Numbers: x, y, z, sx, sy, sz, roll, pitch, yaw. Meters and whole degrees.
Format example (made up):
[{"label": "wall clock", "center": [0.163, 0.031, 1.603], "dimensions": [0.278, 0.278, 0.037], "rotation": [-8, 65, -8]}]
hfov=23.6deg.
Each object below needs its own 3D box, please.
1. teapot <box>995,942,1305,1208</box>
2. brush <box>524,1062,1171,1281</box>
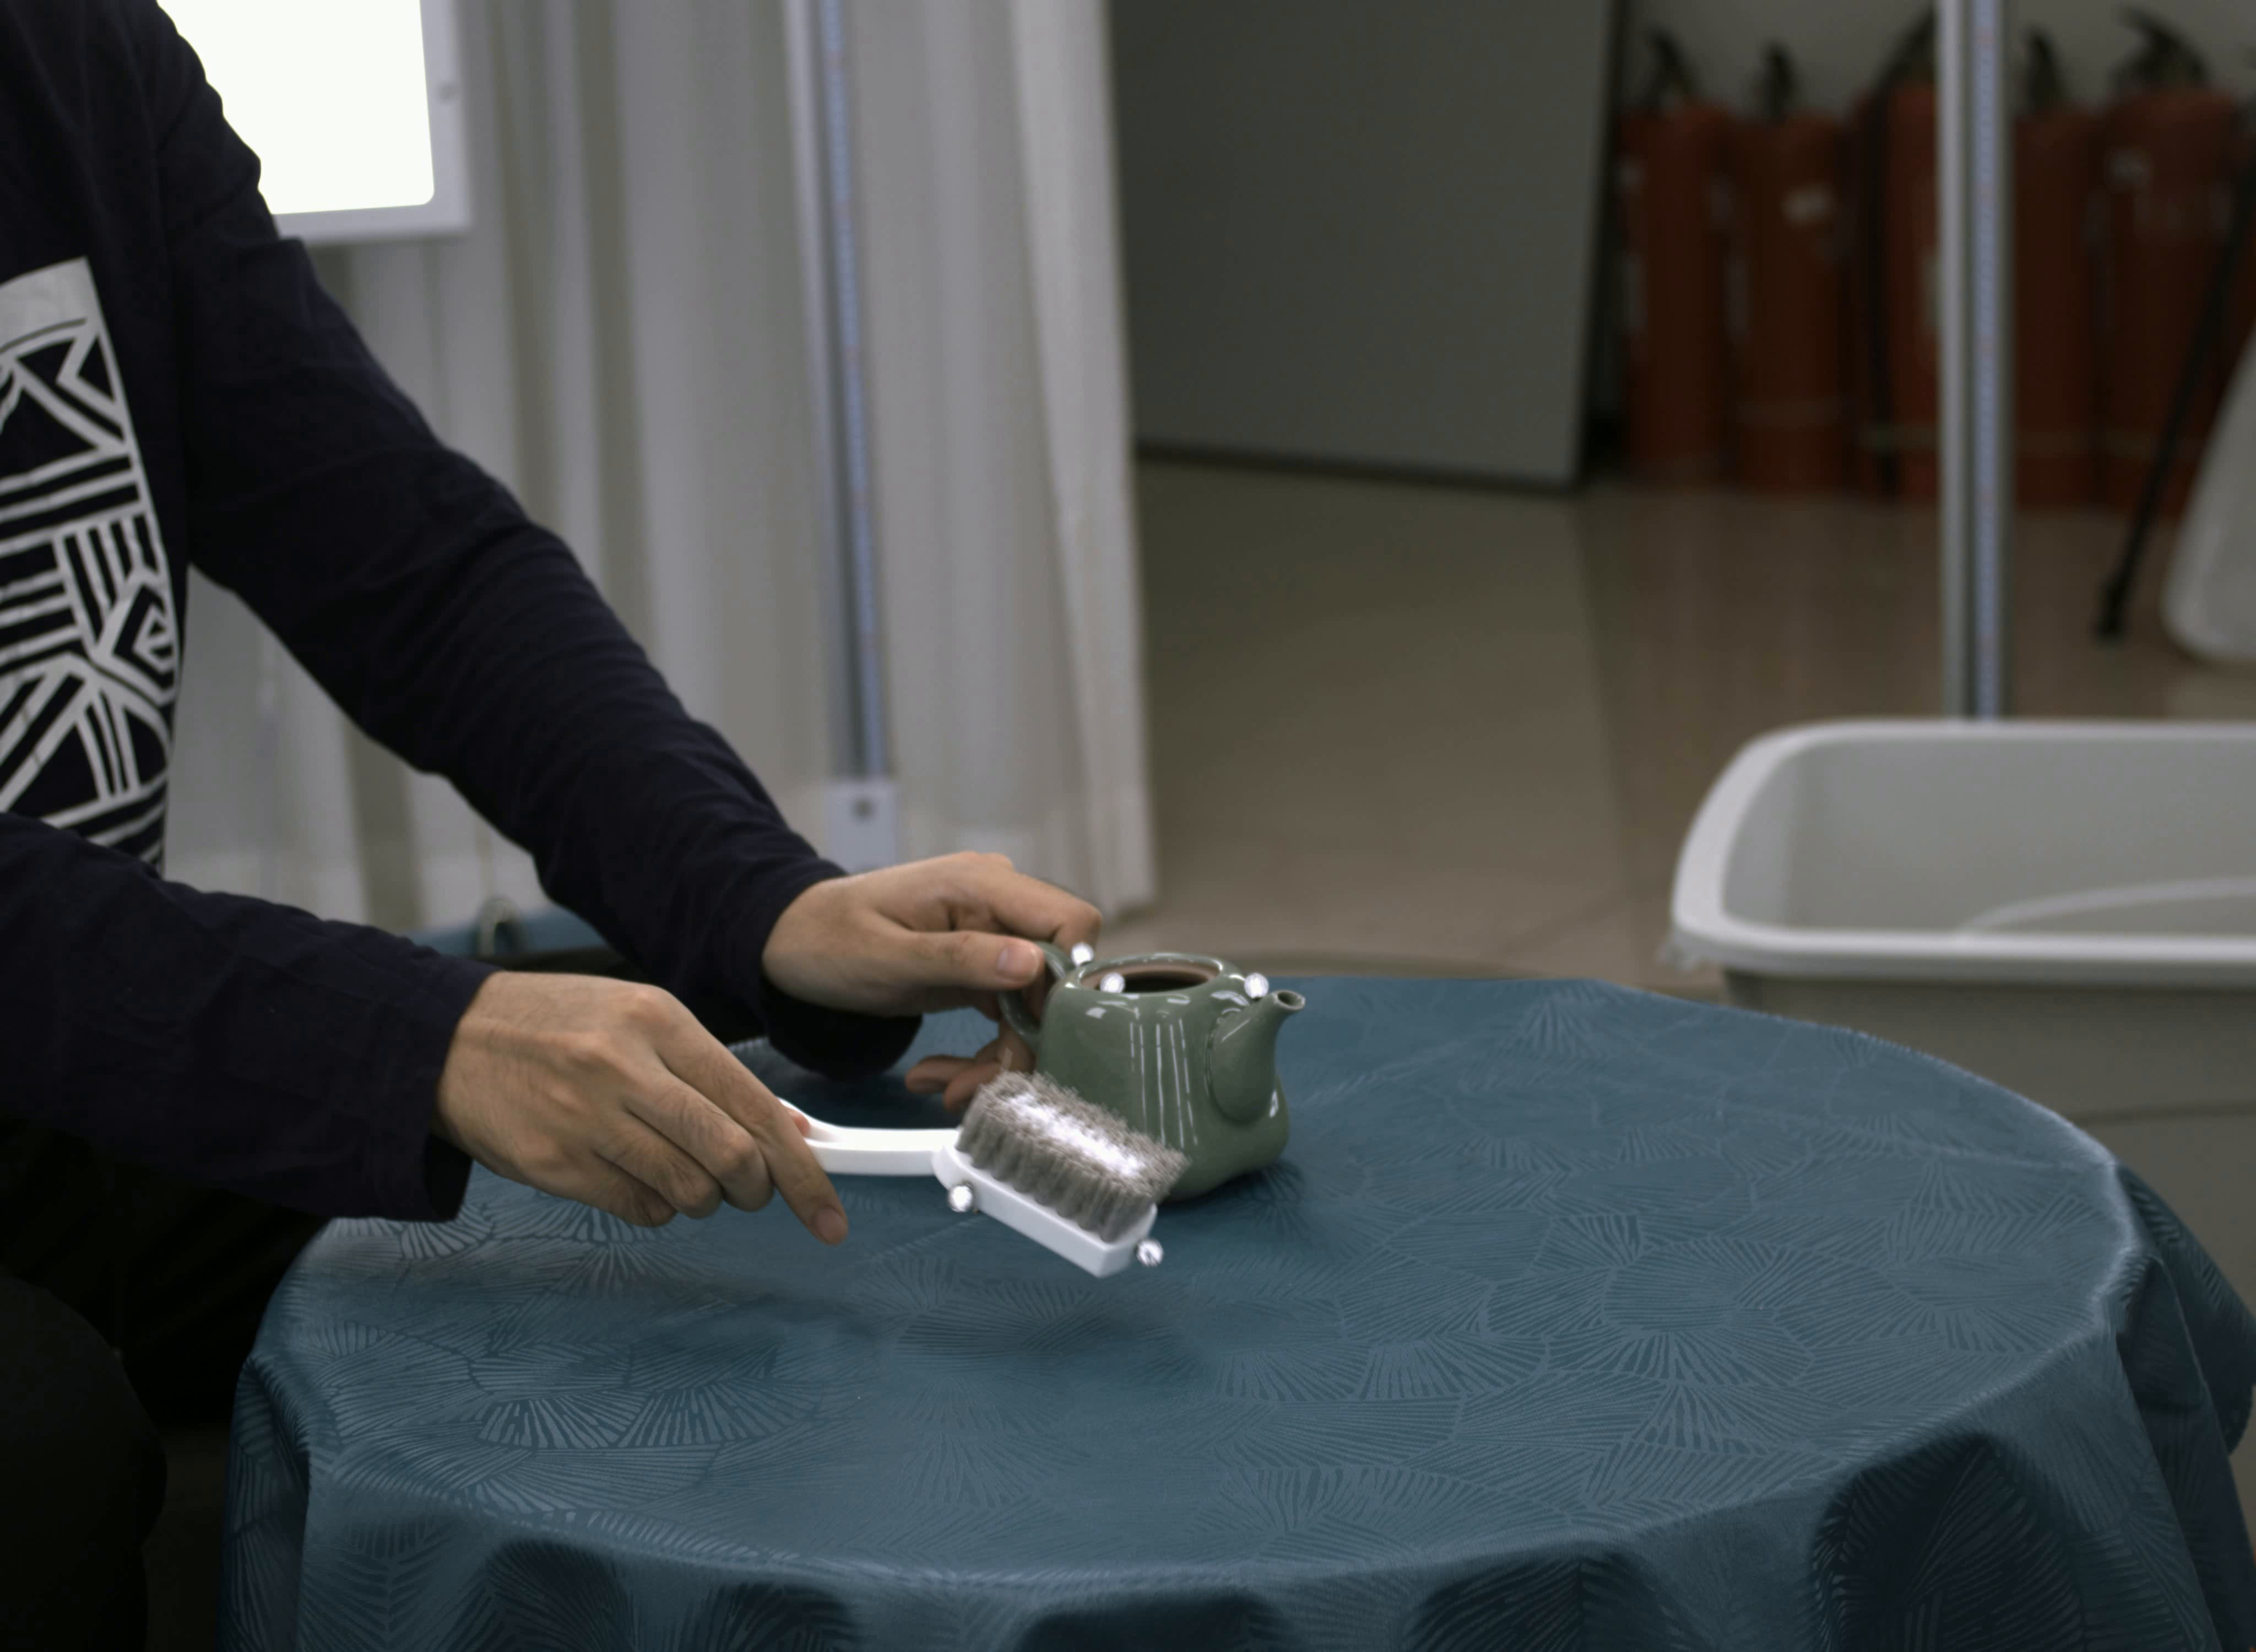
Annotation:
[{"label": "teapot", "center": [0.009, 0.081, 1.782], "dimensions": [0.133, 0.076, 0.078], "rotation": [7, 17, 41]}, {"label": "brush", "center": [-0.093, 0.089, 1.685], "dimensions": [0.245, 0.050, 0.034], "rotation": [14, 34, 32]}]
